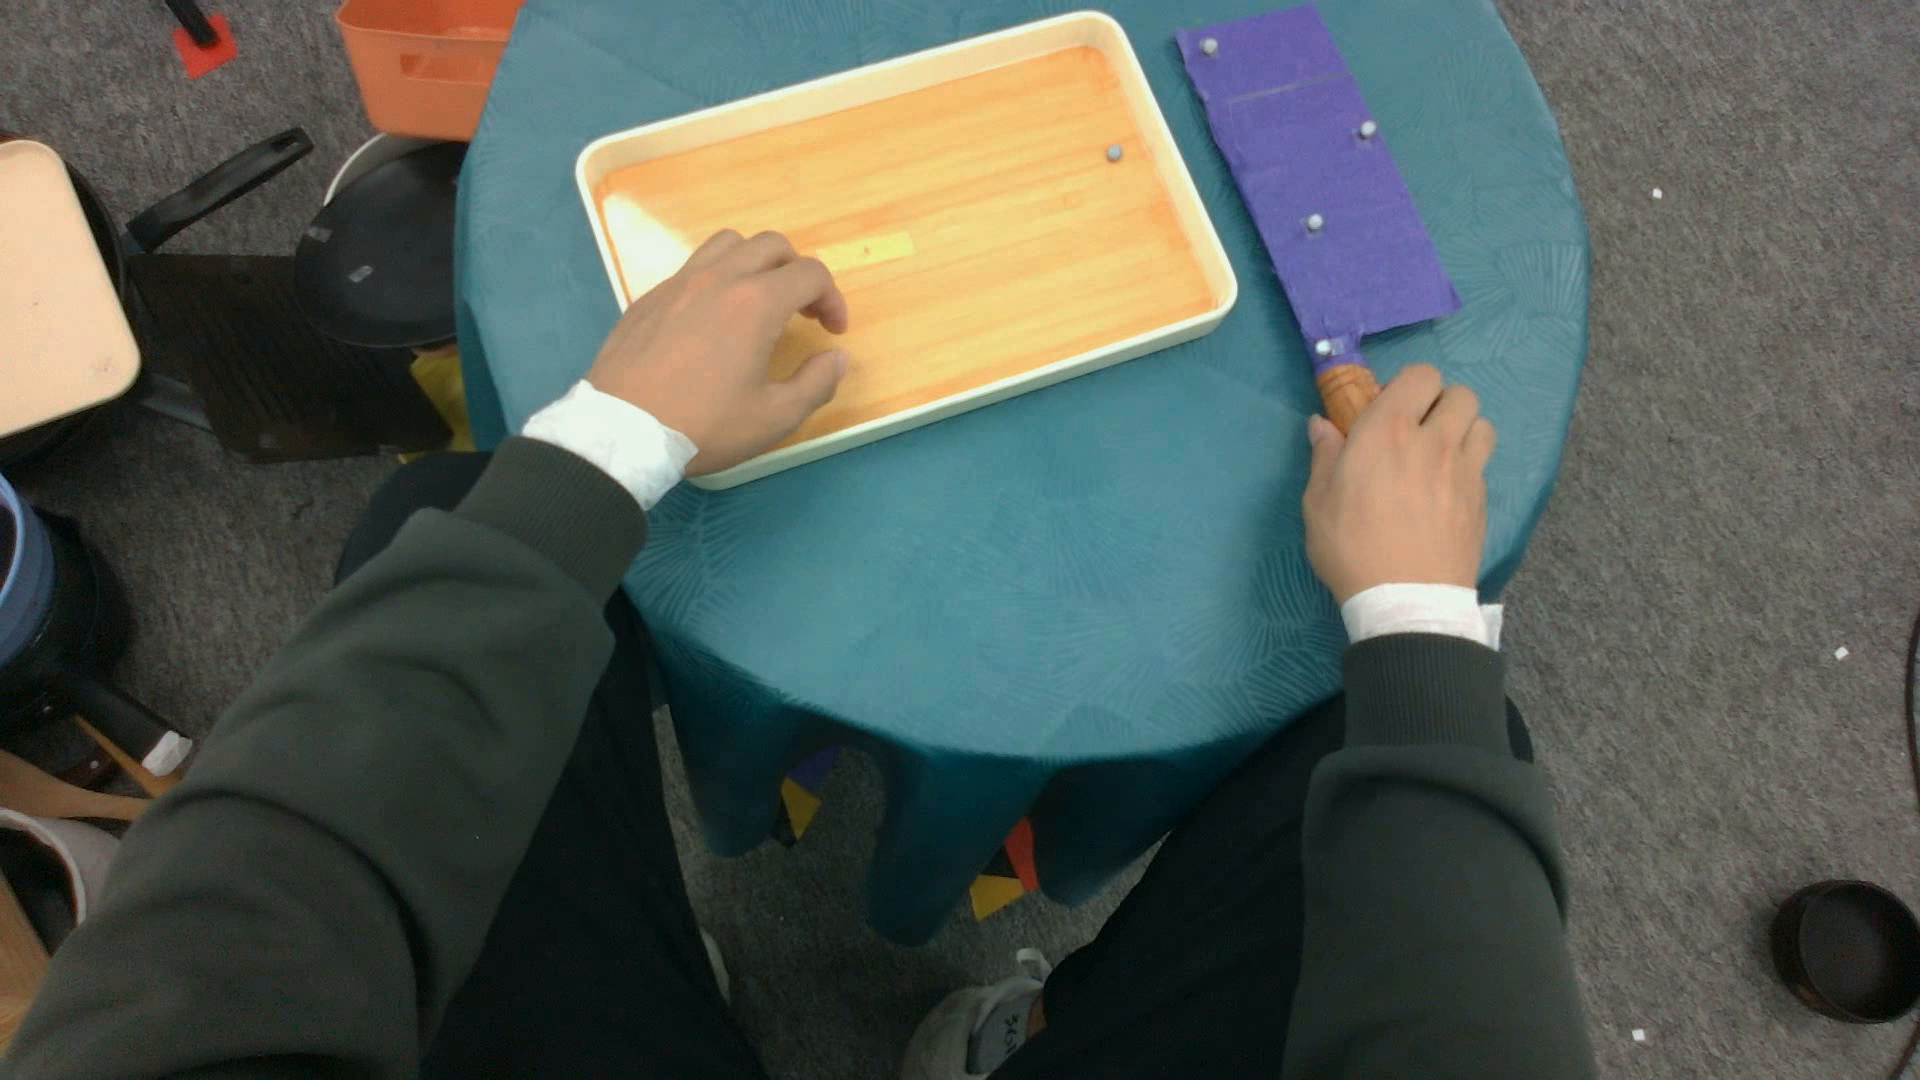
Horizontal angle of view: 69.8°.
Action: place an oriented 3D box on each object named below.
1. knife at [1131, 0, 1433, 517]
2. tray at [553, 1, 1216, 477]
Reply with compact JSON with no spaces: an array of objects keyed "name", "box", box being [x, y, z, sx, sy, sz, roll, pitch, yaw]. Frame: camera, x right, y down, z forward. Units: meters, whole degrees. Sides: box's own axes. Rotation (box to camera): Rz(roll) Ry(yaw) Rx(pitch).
[{"name":"knife","box":[0.193,-0.166,0.730,0.104,0.032,0.316,-16,74,-12]},{"name":"tray","box":[-0.037,-0.161,0.707,0.301,0.027,0.192,-19,75,-12]}]
